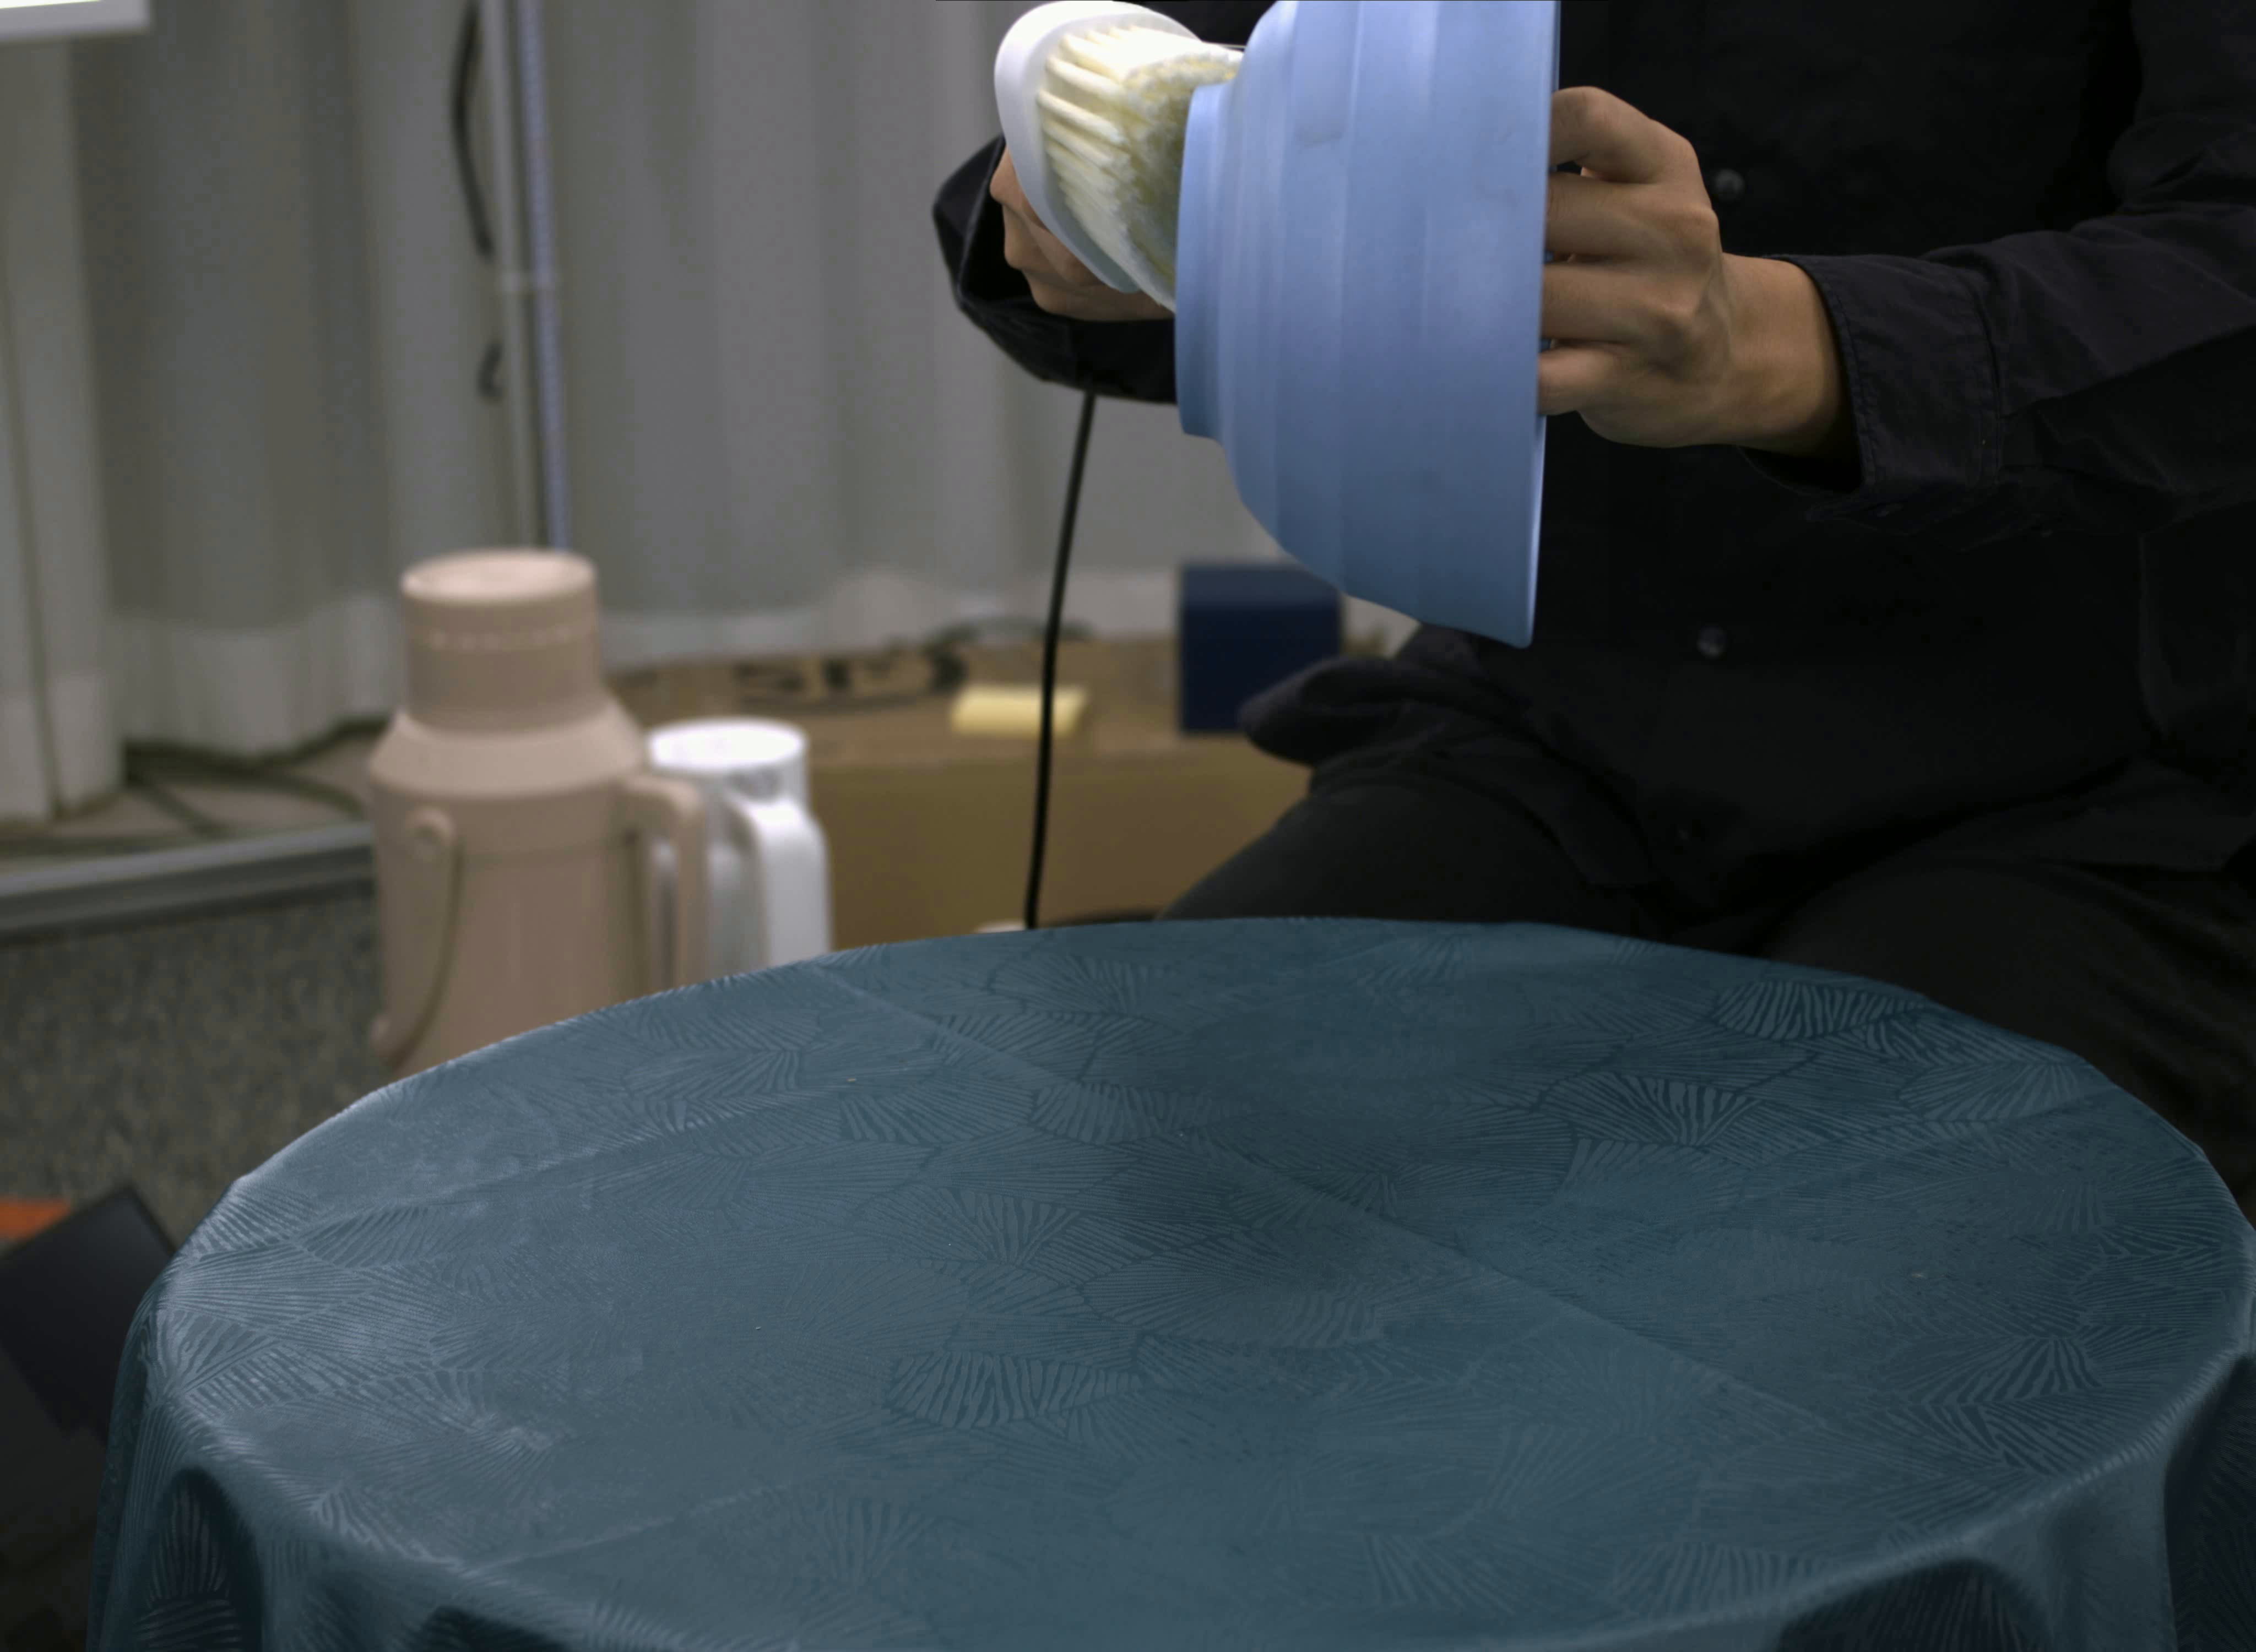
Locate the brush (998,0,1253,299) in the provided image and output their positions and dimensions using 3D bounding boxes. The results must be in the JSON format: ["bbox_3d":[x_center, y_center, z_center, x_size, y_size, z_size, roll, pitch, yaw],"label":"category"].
[{"bbox_3d":[0.025,-0.182,1.540,0.083,0.085,0.322,-25,-7,5],"label":"brush"}]

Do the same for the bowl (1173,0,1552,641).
[{"bbox_3d":[0.062,-0.148,1.391,0.095,0.196,0.196,2,16,5],"label":"bowl"}]
